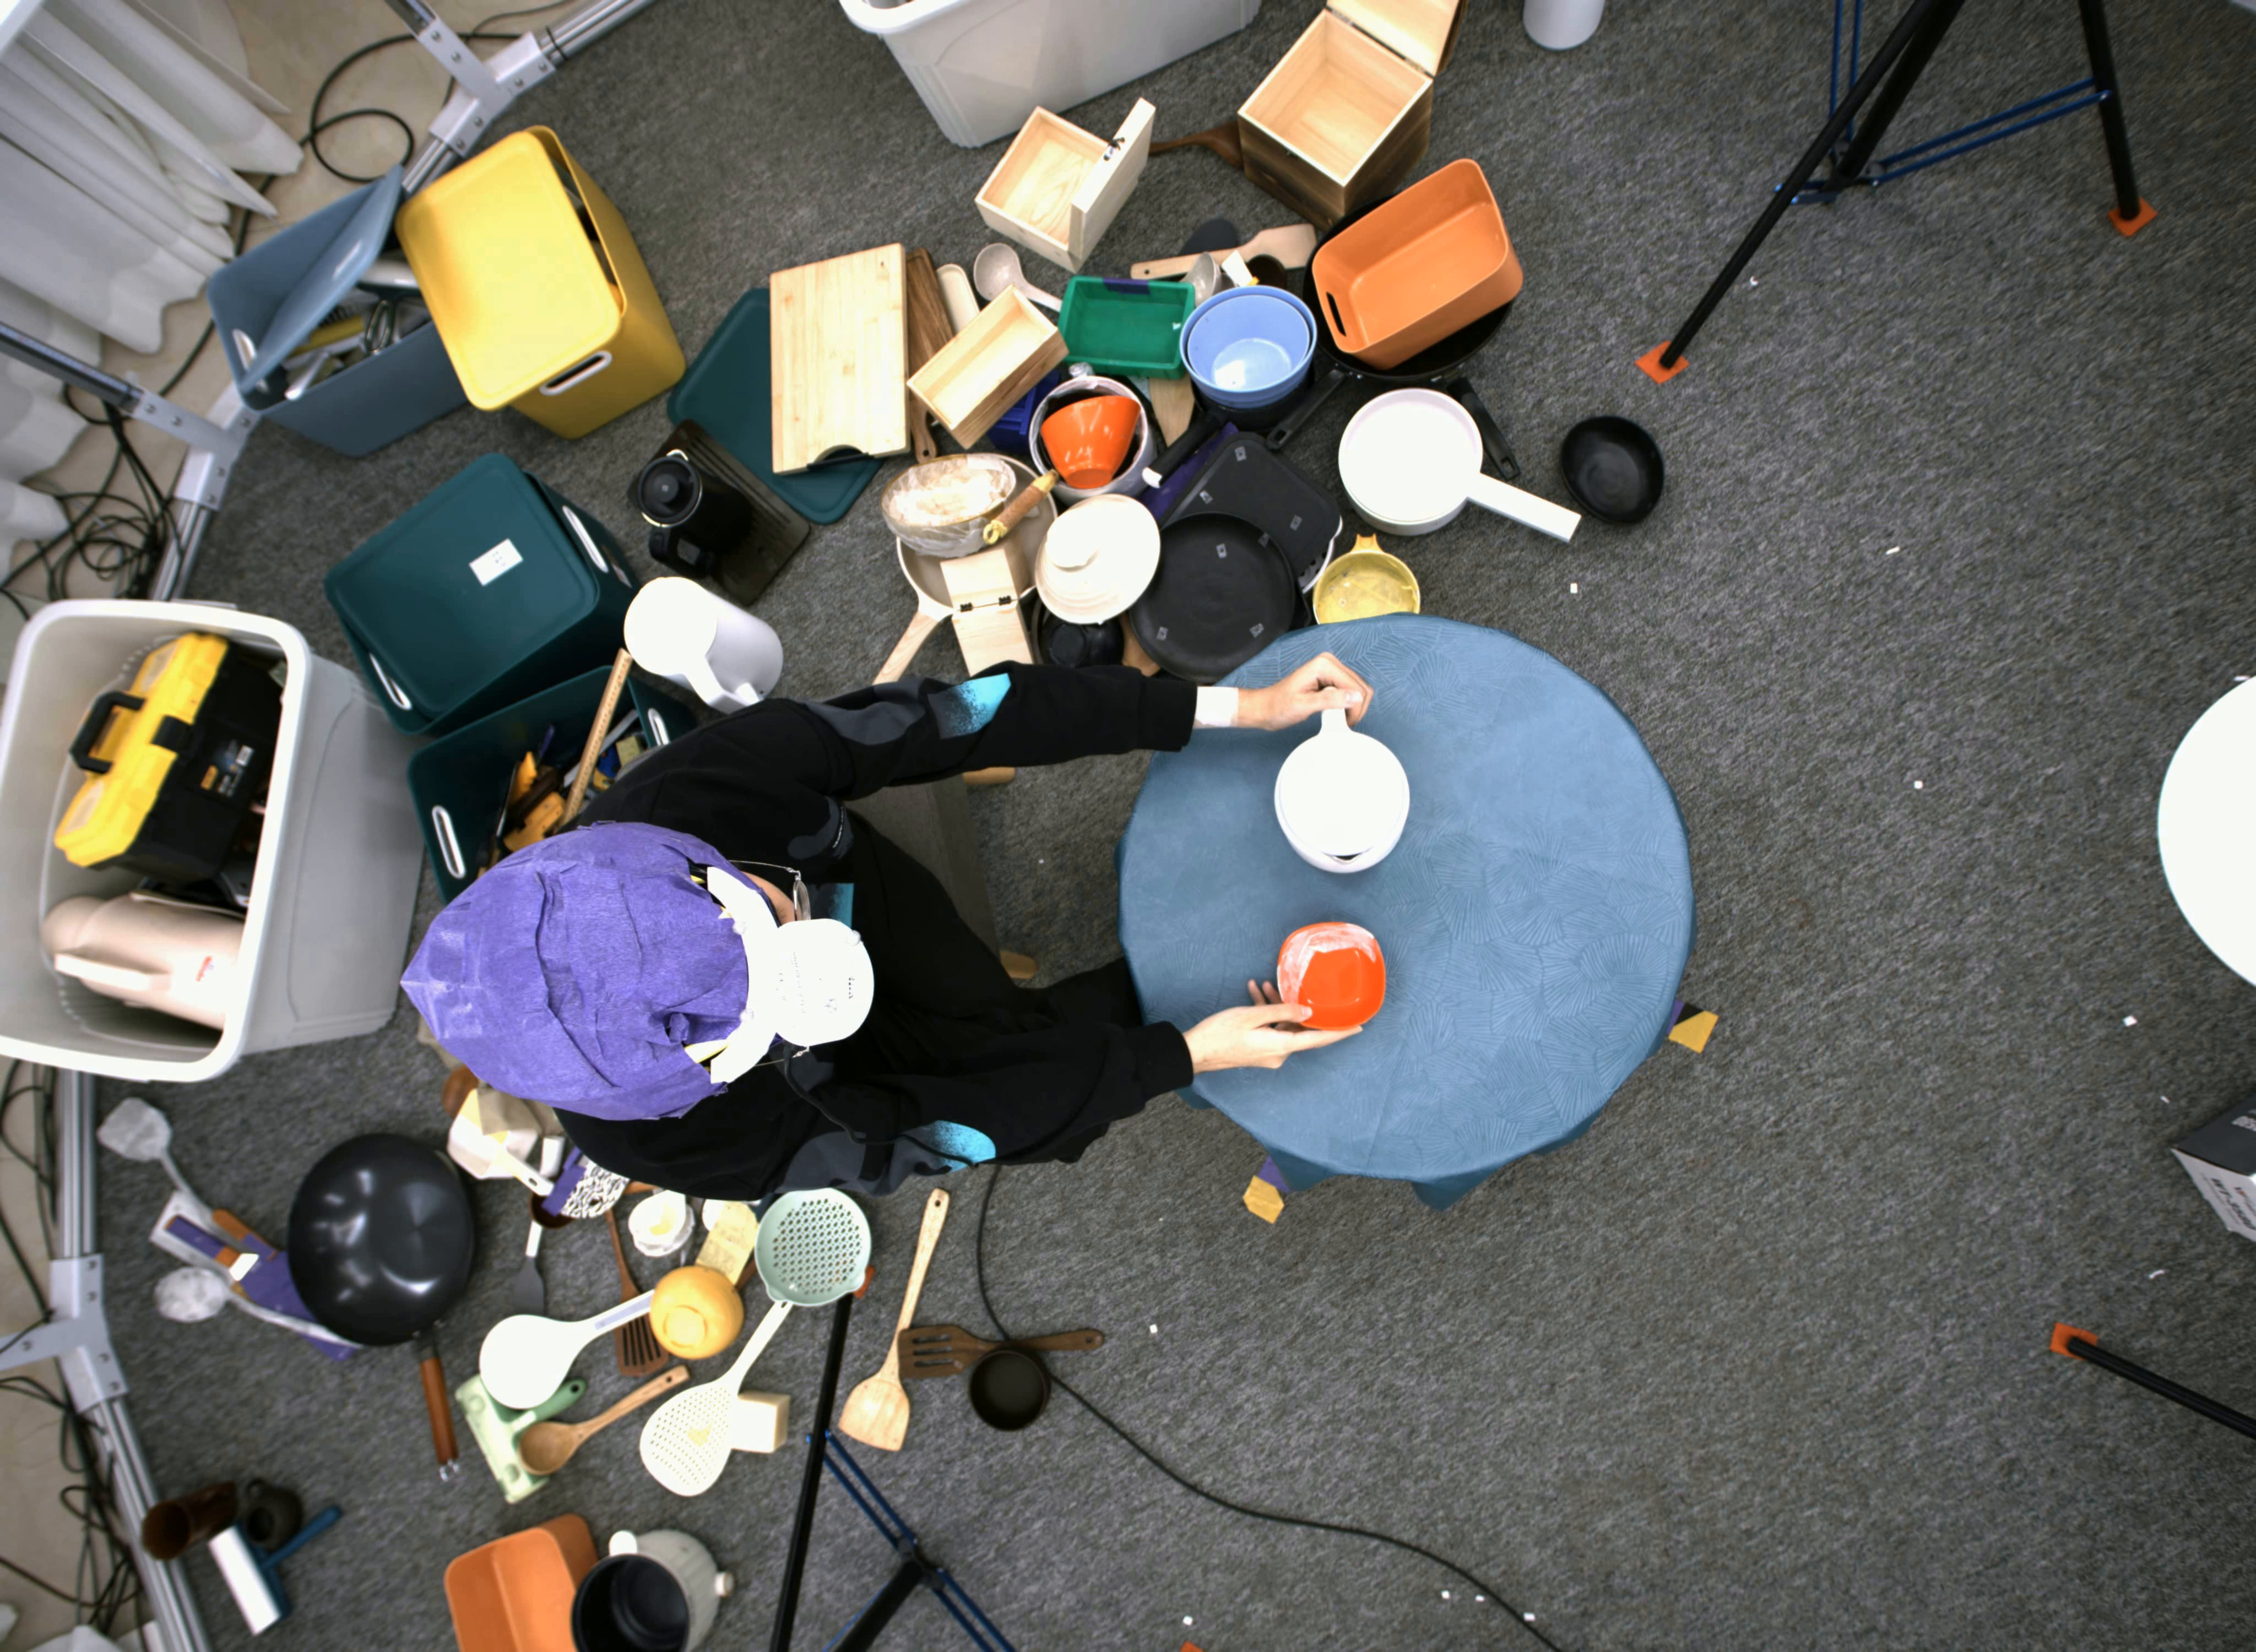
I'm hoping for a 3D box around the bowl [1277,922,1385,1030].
[{"bbox_3d":[0.210,0.154,1.435,0.119,0.051,0.118,0,88,8],"label":"bowl"}]

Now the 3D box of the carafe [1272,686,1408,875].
[{"bbox_3d":[0.210,-0.047,1.386,0.133,0.183,0.189,-8,82,8],"label":"carafe"}]
